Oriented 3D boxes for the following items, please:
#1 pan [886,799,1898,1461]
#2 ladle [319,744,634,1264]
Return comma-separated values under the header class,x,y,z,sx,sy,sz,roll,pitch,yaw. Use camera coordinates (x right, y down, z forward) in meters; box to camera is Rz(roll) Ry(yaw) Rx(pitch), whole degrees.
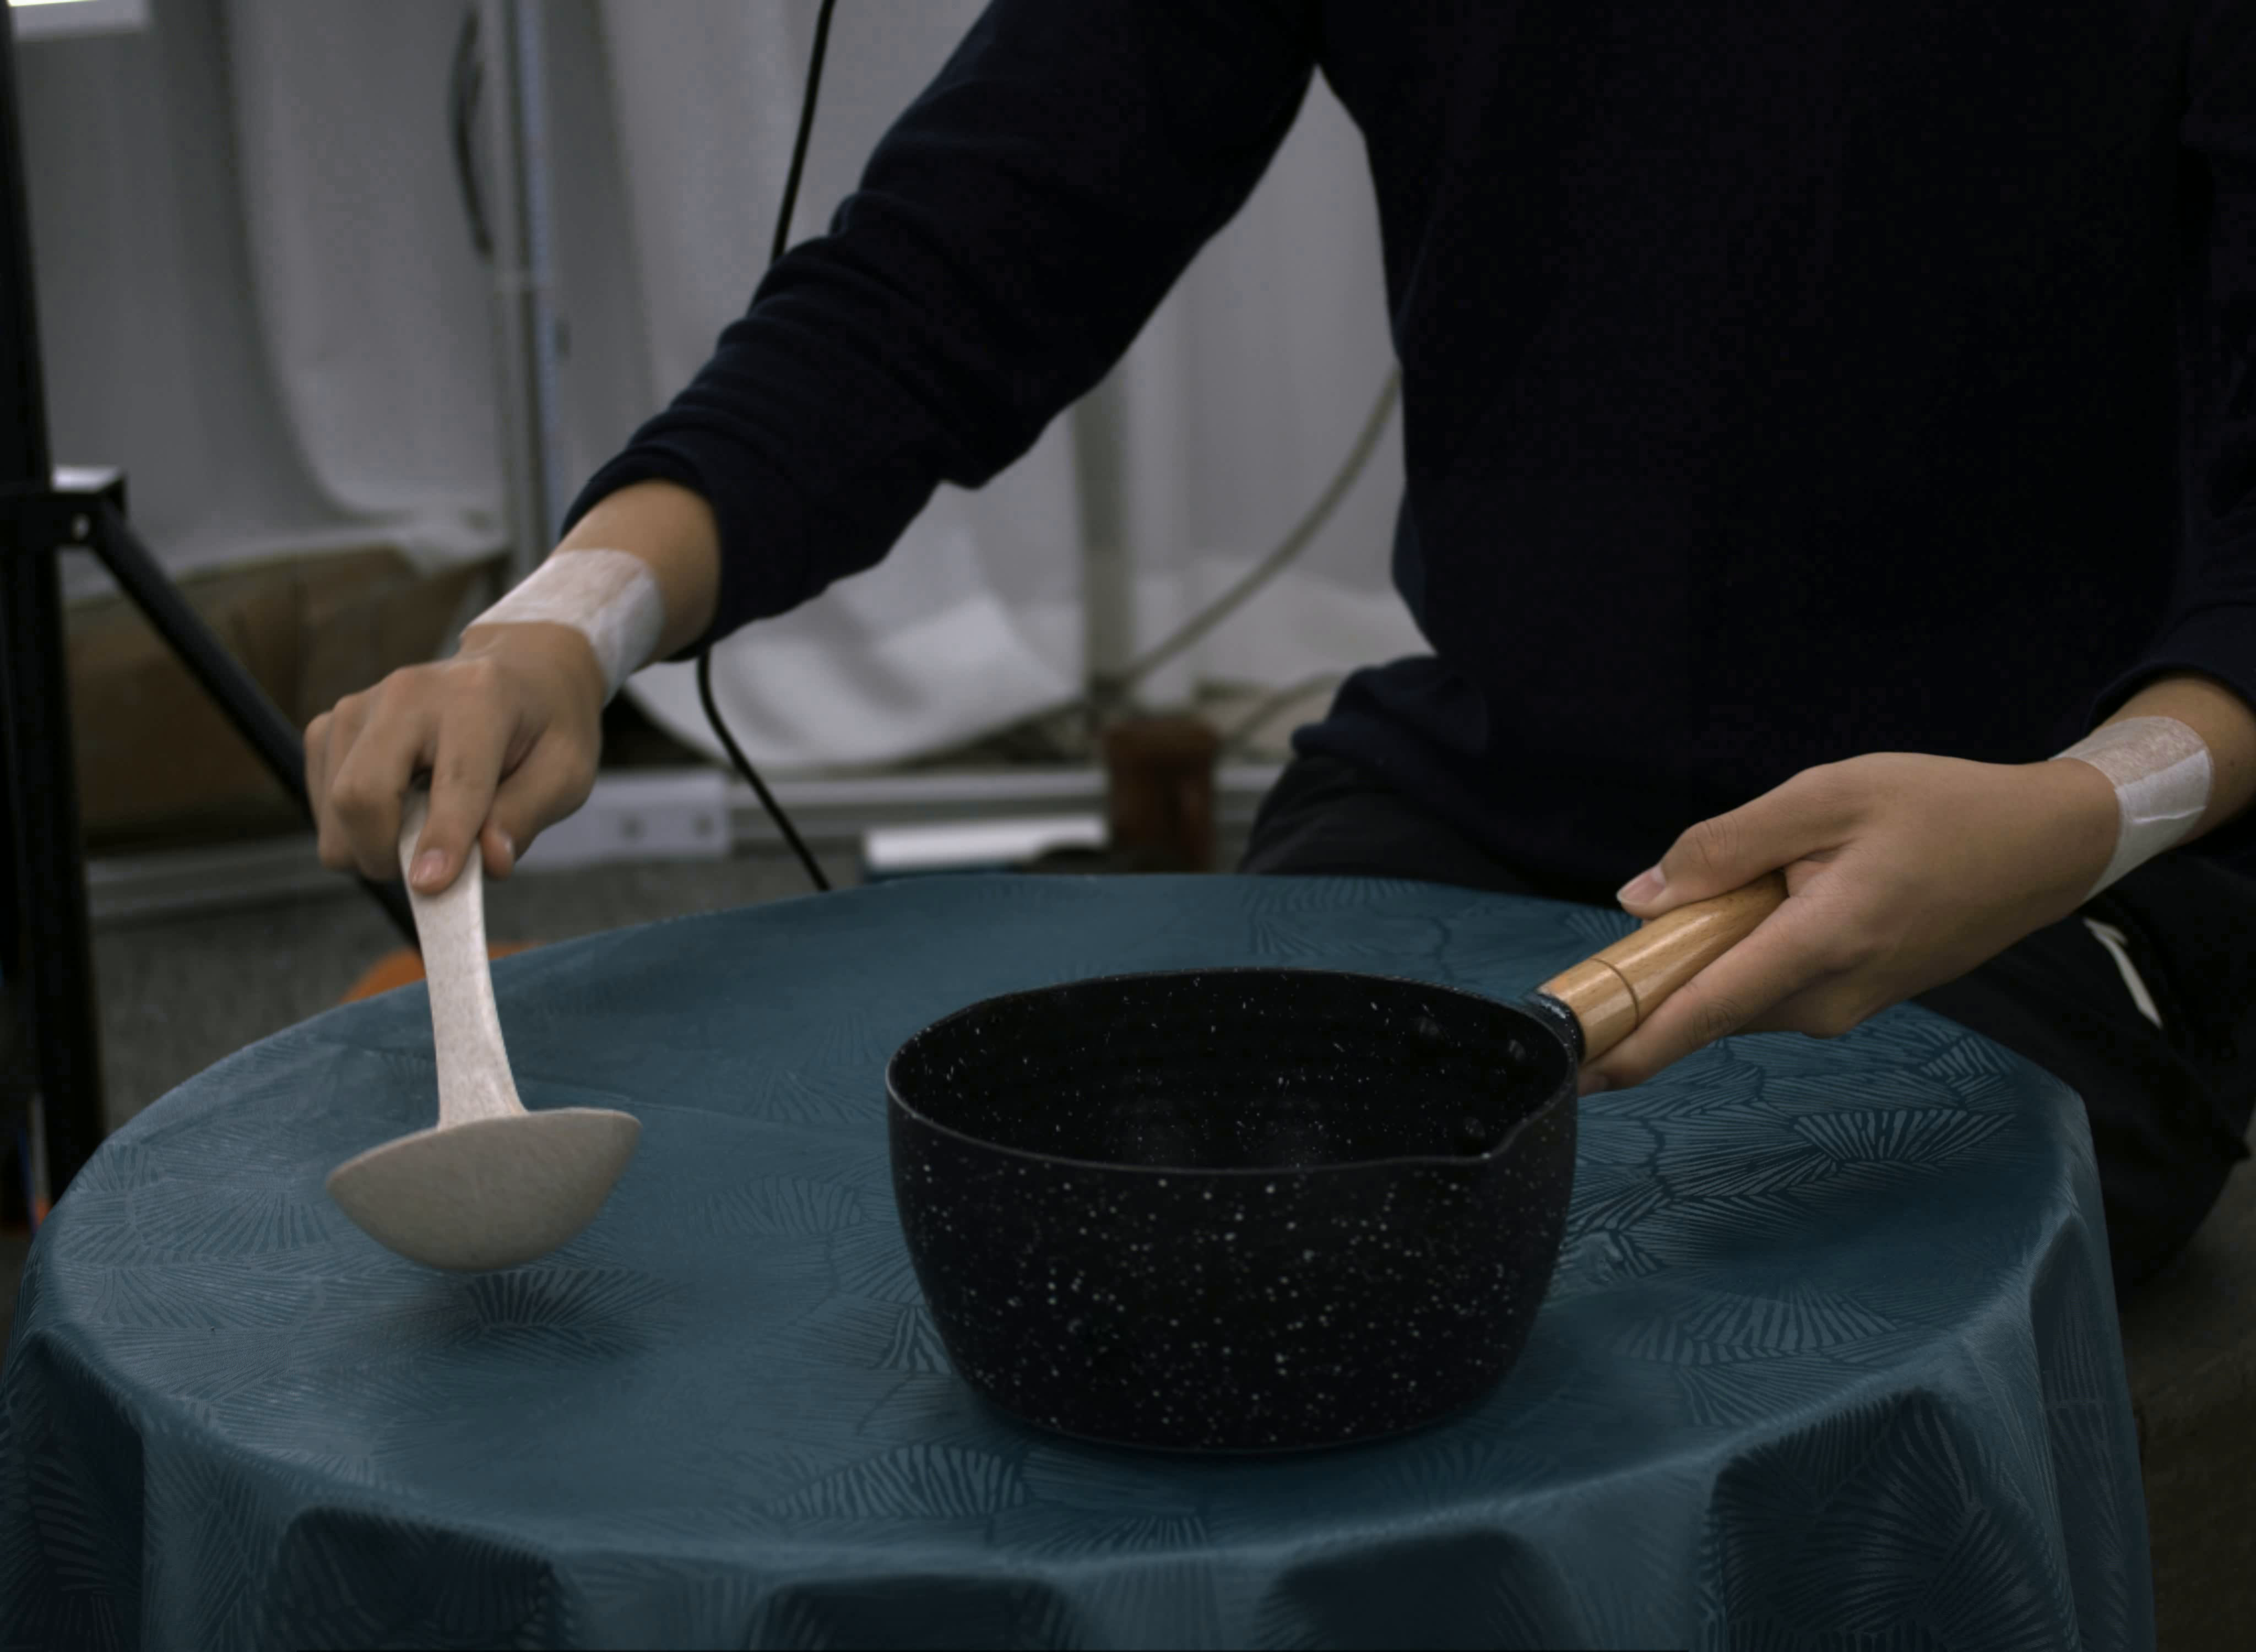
class,x,y,z,sx,sy,sz,roll,pitch,yaw
pan,0.088,0.077,1.454,0.335,0.108,0.212,-15,19,-38
ladle,-0.198,0.029,1.567,0.089,0.068,0.279,-15,36,-1
